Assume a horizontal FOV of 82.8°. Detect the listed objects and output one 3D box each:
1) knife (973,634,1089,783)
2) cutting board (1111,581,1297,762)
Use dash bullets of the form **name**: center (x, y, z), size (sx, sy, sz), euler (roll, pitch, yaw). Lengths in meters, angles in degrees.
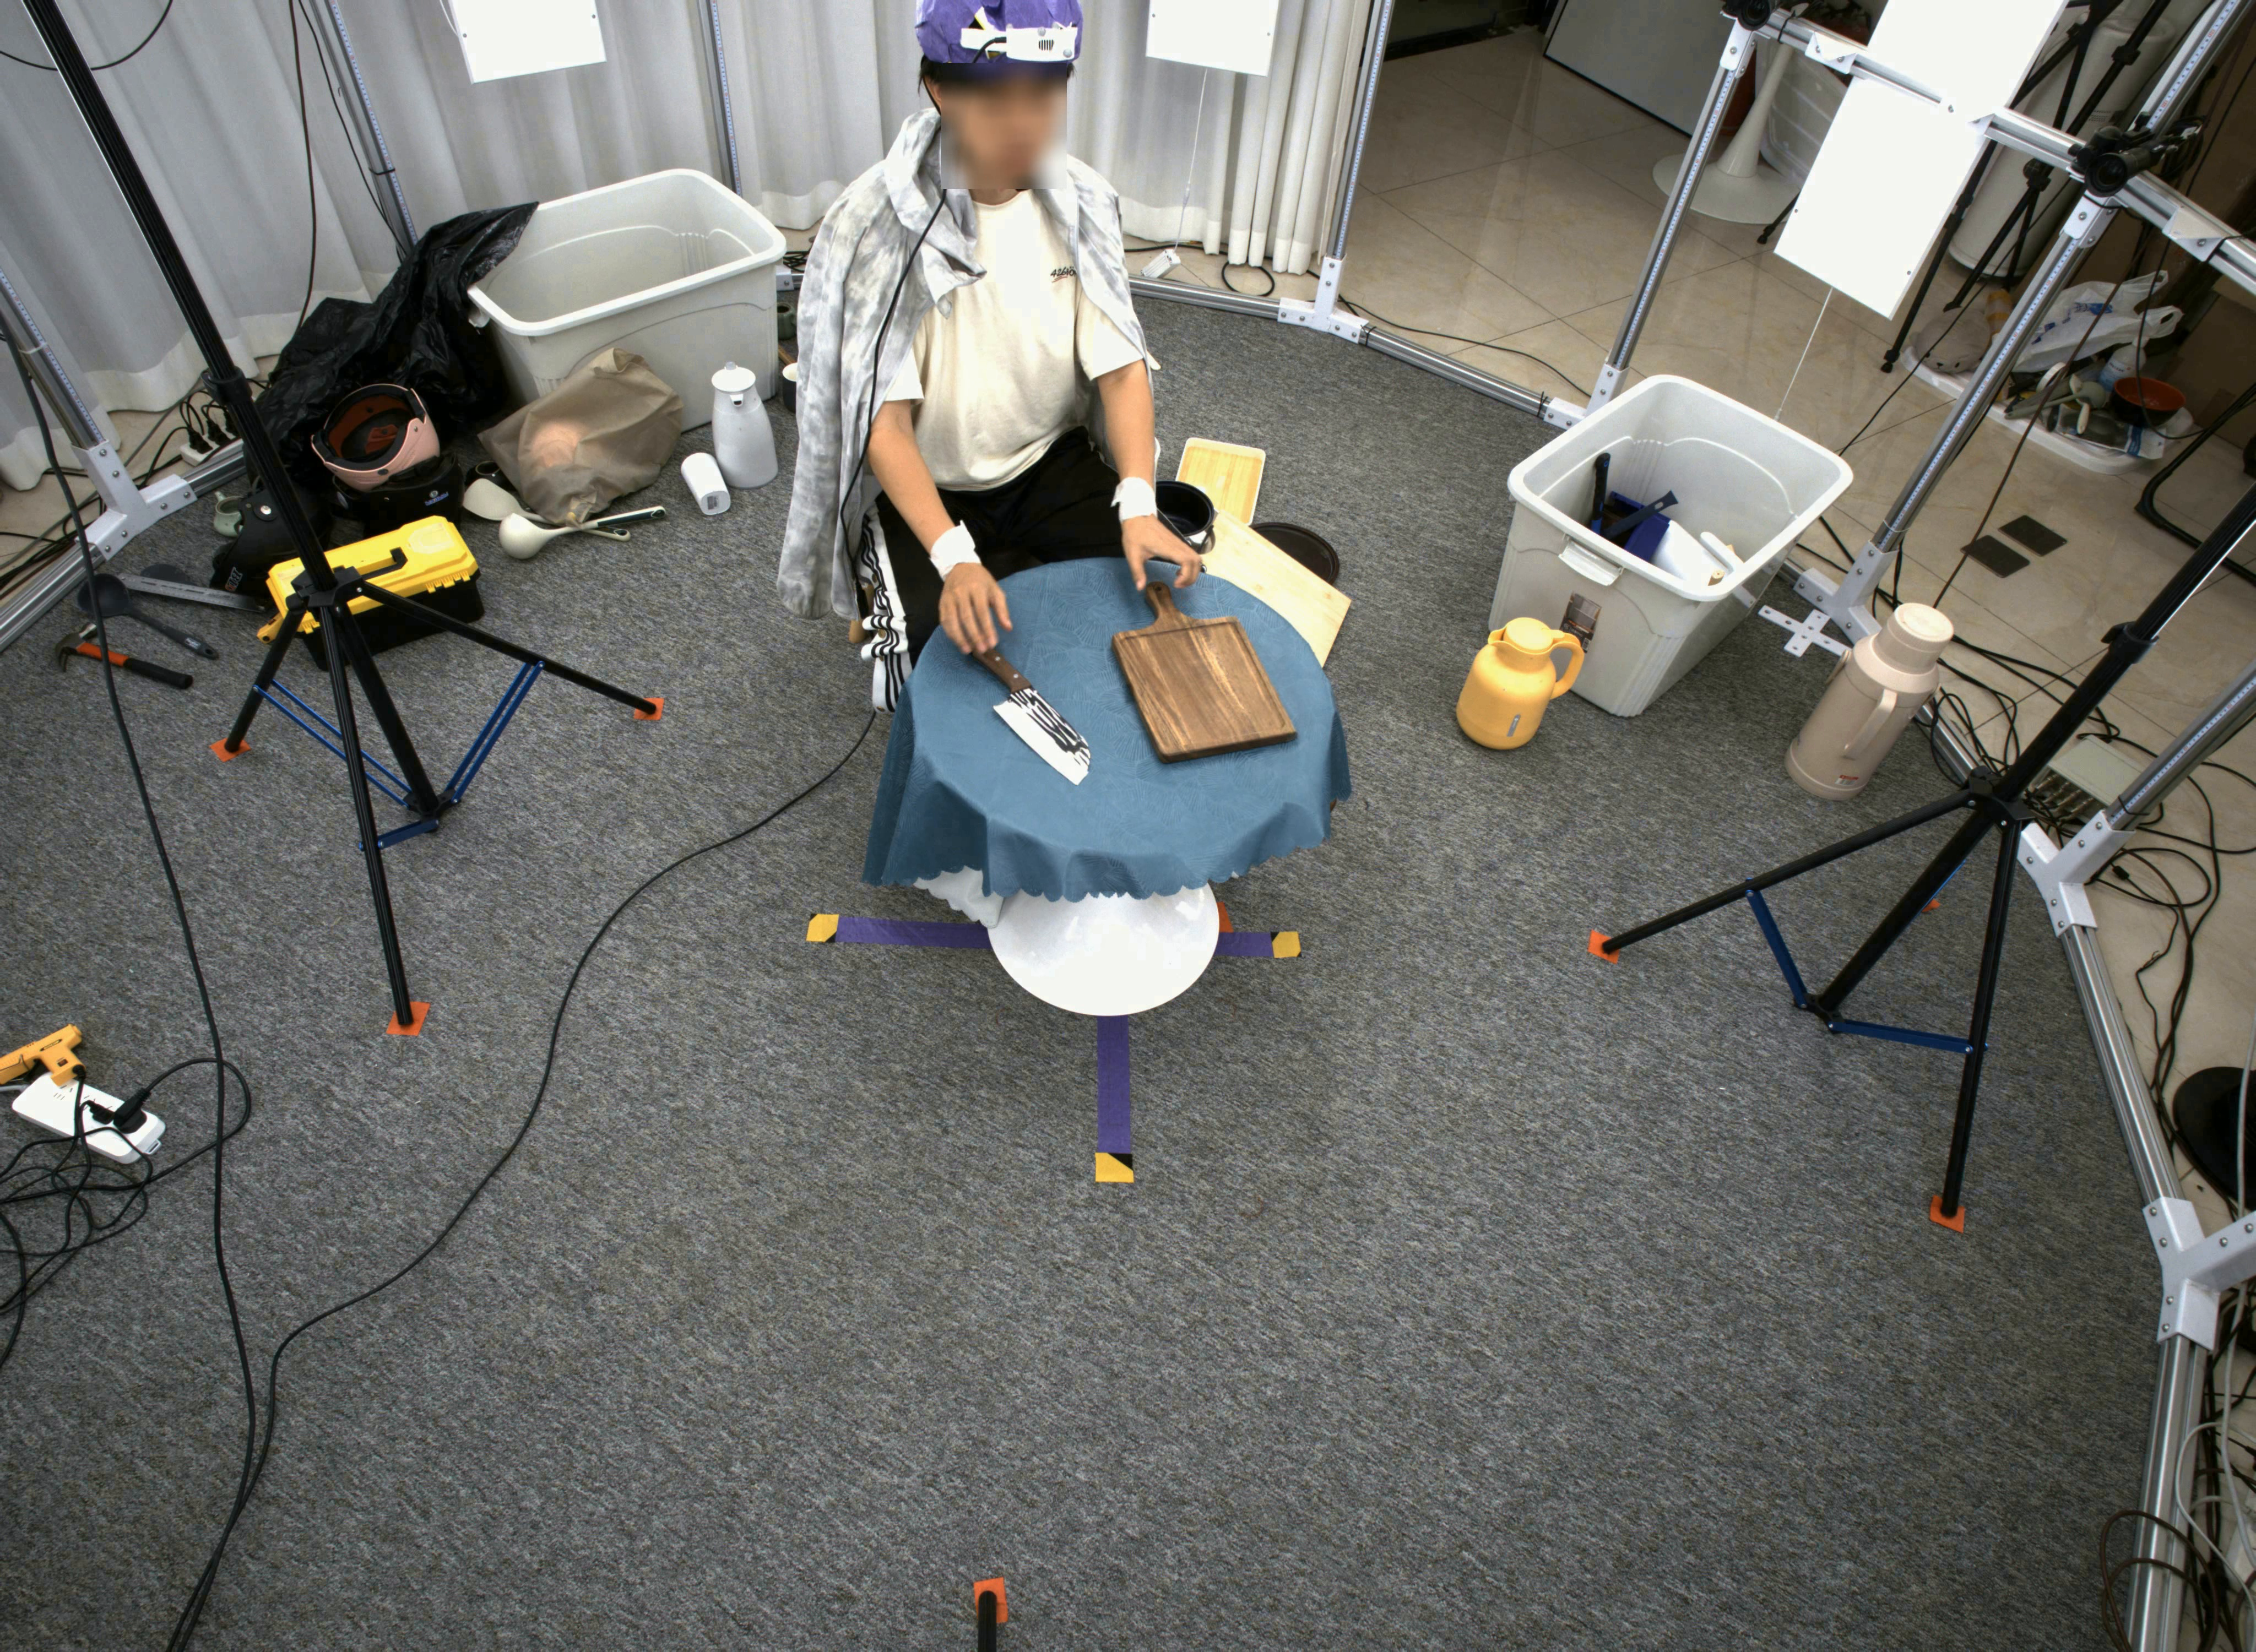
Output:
- **knife**: center (-0.143, -0.166, 1.782), size (0.068, 0.023, 0.305), euler (-30, 59, -24)
- **cutting board**: center (0.090, -0.238, 1.860), size (0.201, 0.022, 0.361), euler (-11, 50, -13)
